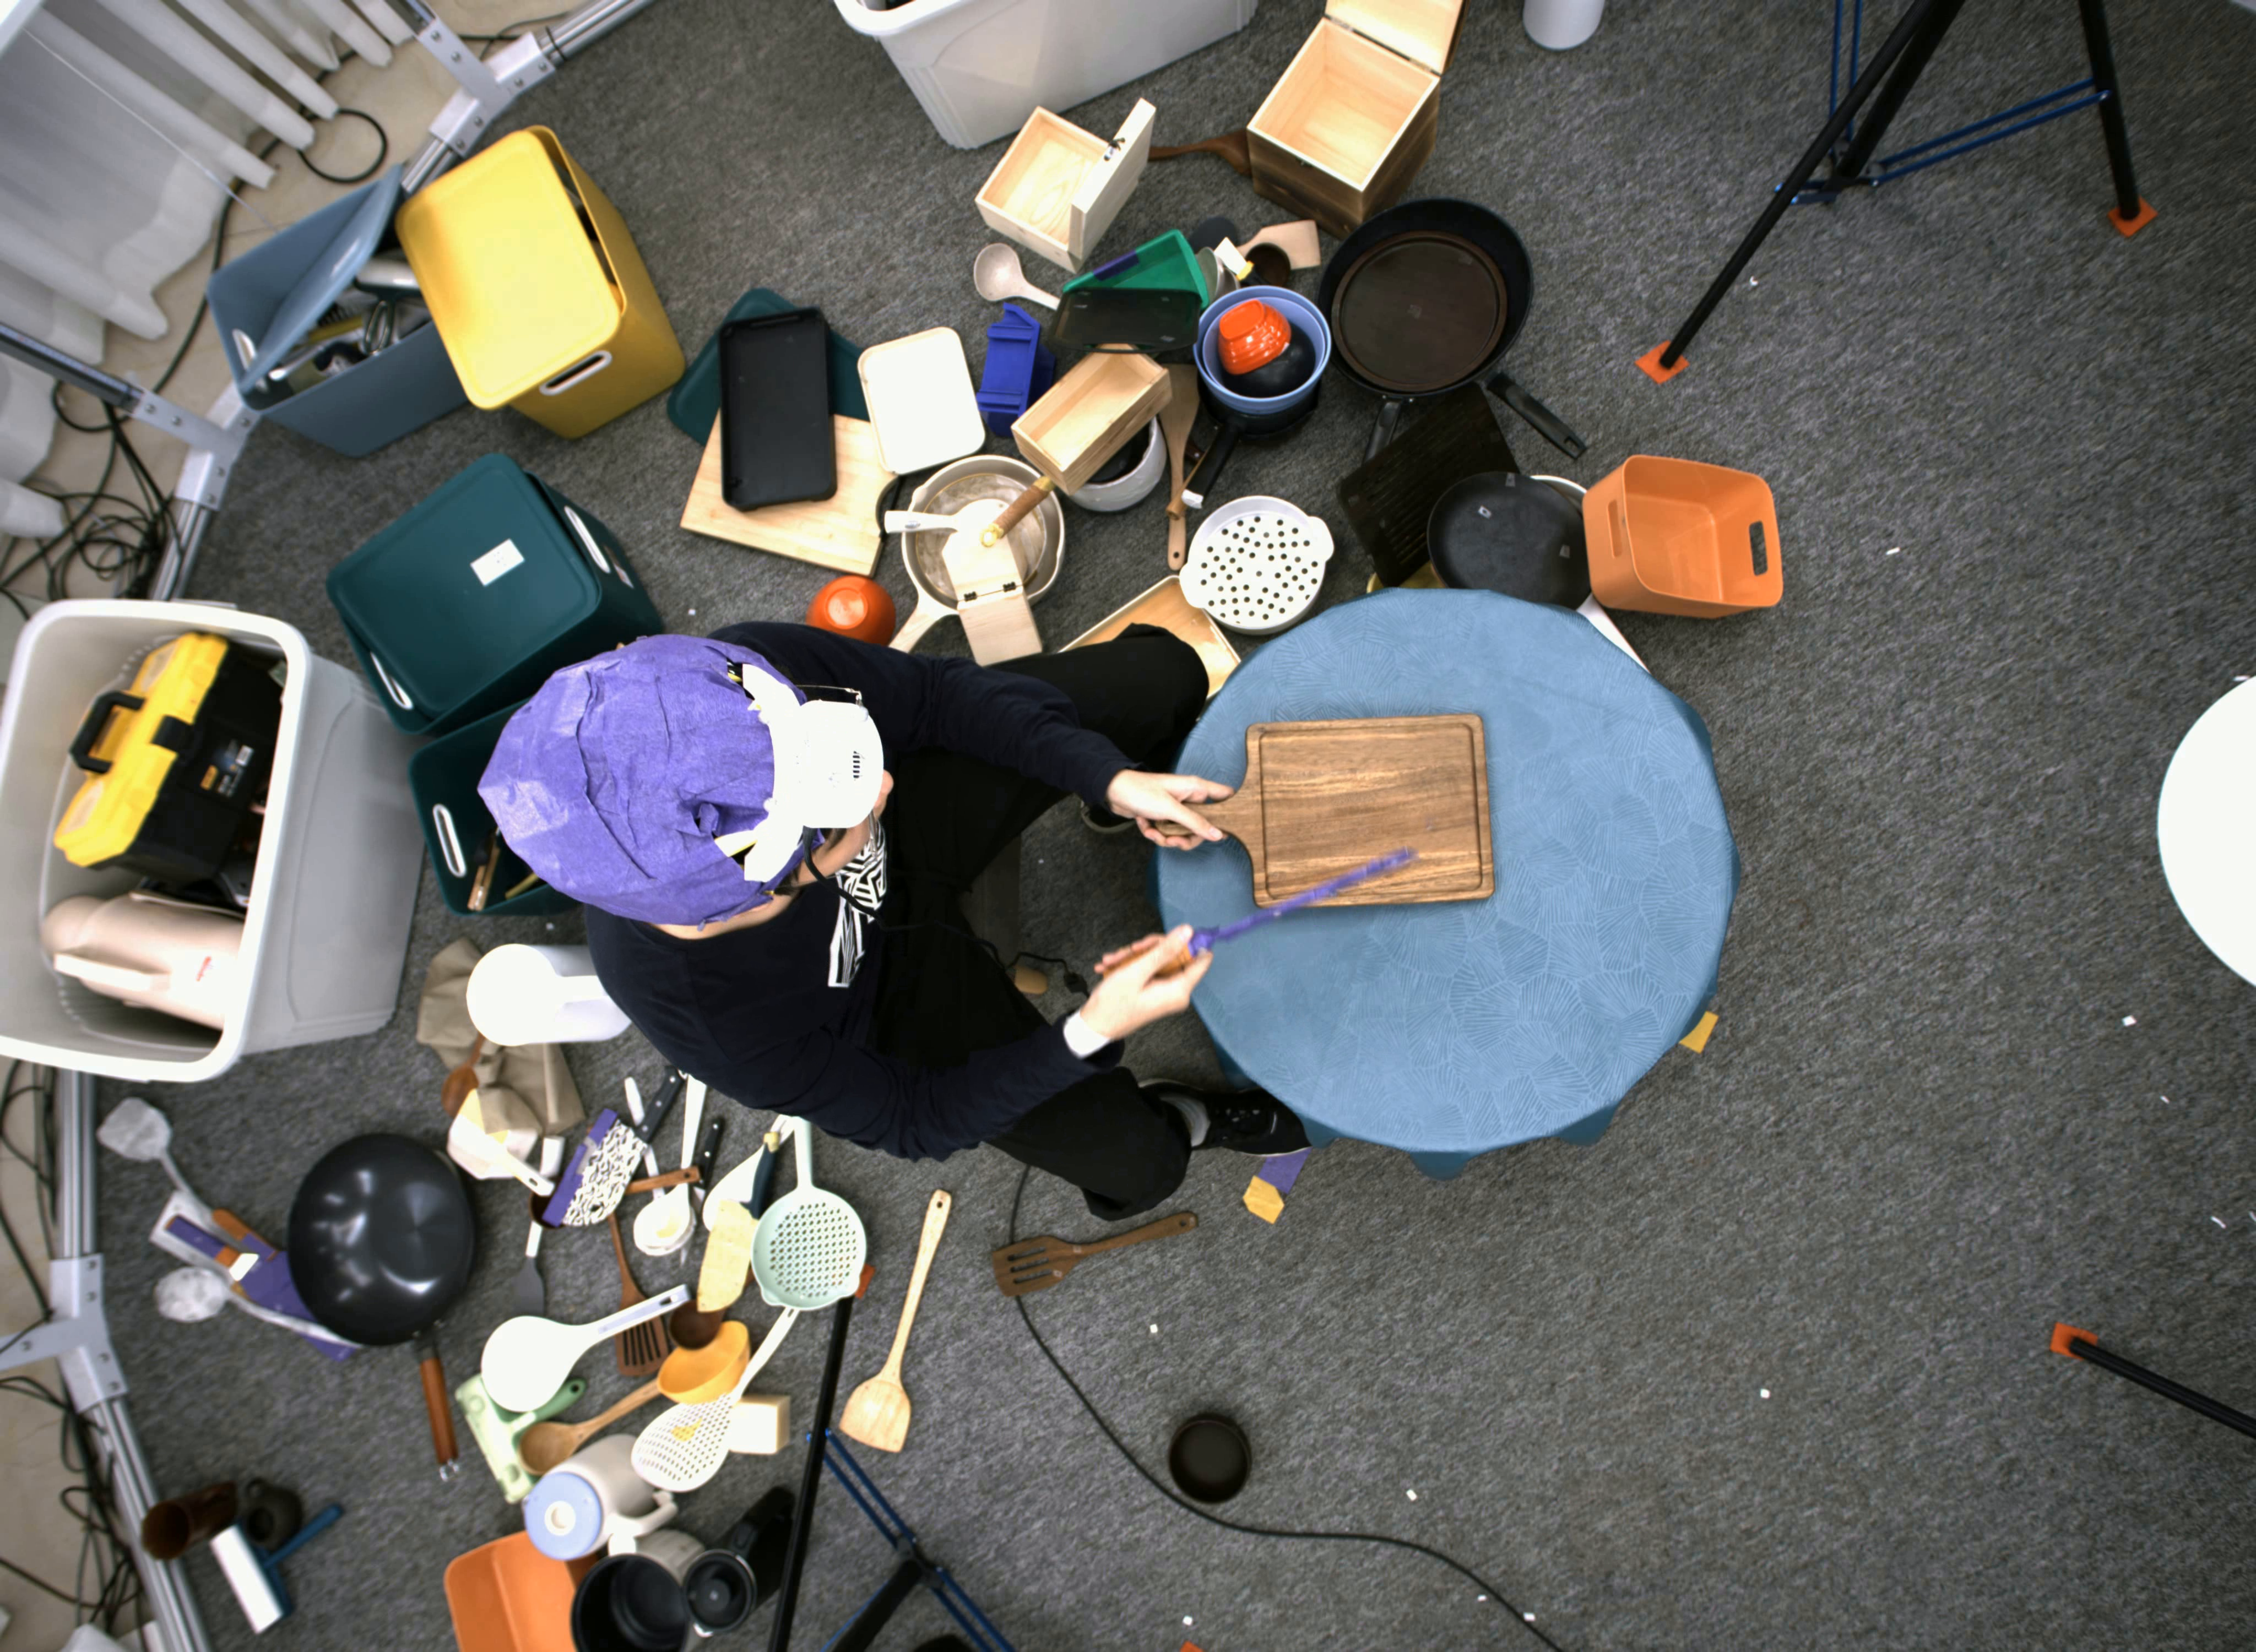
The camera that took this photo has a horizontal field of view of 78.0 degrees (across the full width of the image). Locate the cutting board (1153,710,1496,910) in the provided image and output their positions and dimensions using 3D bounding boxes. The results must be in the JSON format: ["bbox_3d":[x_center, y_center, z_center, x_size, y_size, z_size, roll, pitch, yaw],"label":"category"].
[{"bbox_3d":[0.202,-0.016,1.445,0.353,0.023,0.200,-3,87,3],"label":"cutting board"}]

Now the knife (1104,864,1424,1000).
[{"bbox_3d":[0.132,0.100,1.318,0.318,0.104,0.032,-22,77,17],"label":"knife"}]
